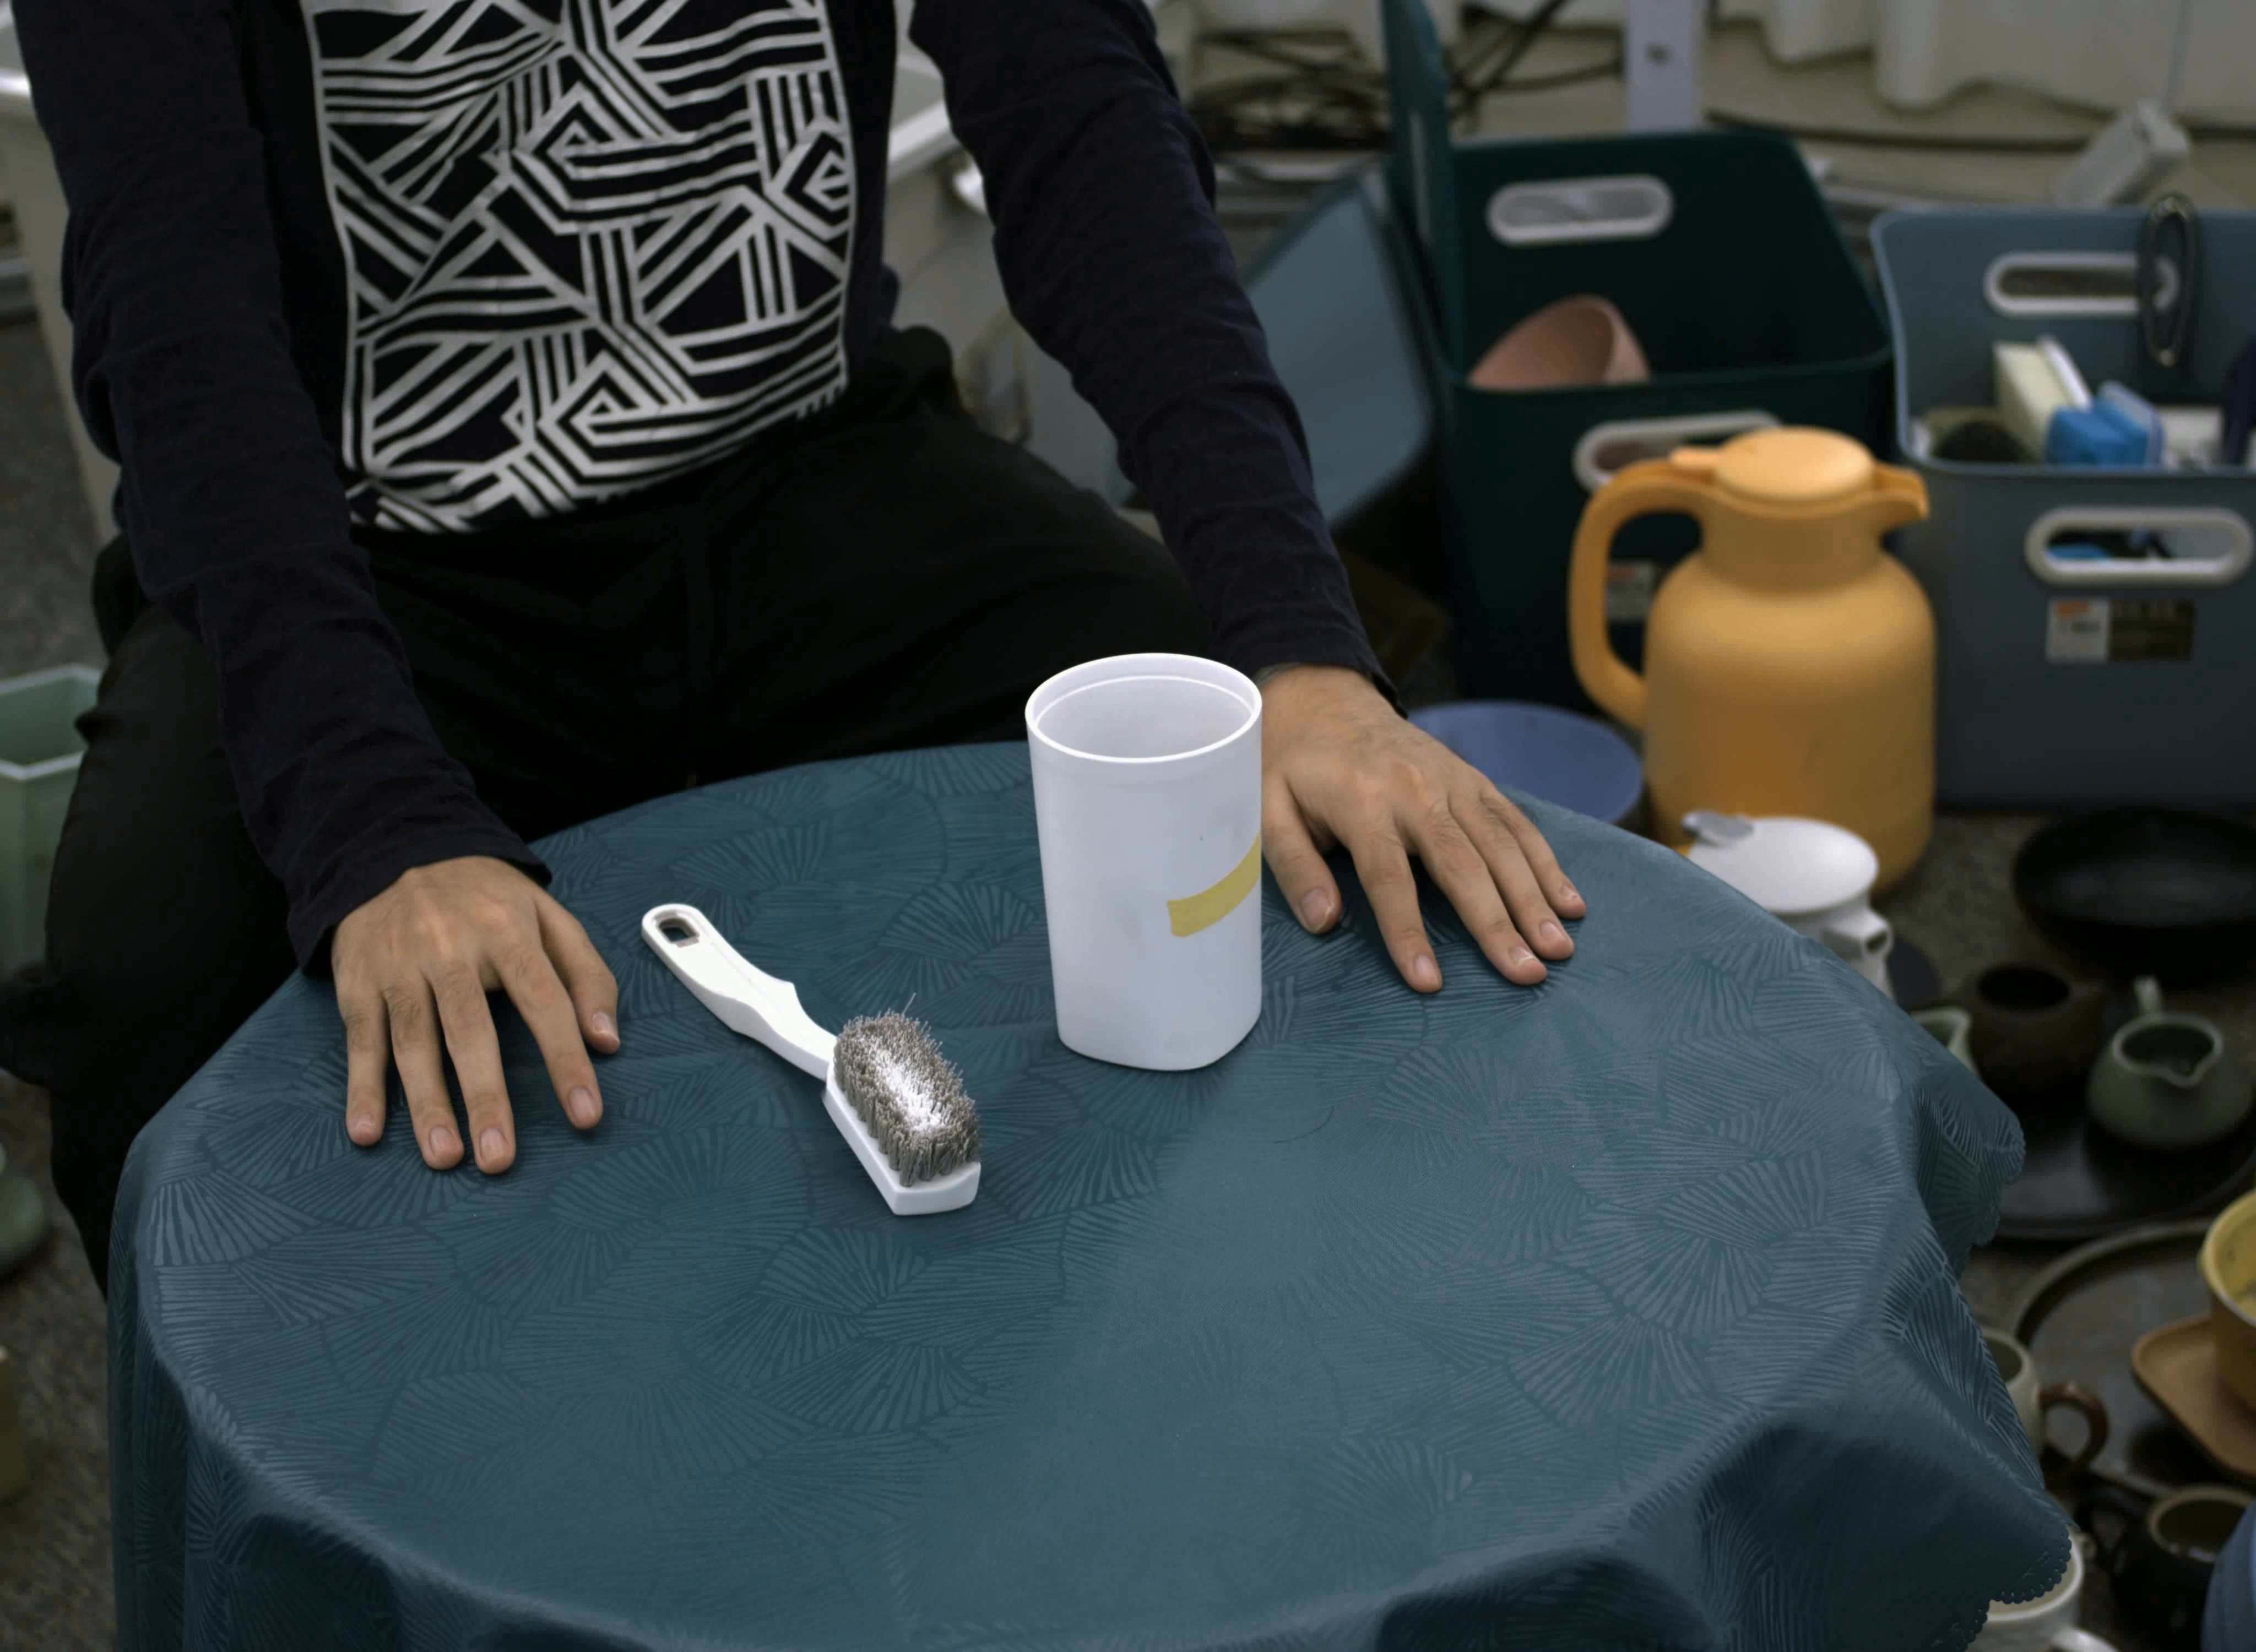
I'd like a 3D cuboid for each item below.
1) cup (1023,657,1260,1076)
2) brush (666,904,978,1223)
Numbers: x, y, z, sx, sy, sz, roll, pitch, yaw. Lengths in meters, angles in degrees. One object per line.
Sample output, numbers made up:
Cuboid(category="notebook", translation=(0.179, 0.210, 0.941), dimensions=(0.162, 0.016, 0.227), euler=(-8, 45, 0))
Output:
Cuboid(category="cup", translation=(0.008, 0.015, 1.933), dimensions=(0.081, 0.124, 0.083), euler=(-2, 25, 2))
Cuboid(category="brush", translation=(-0.111, 0.064, 1.932), dimensions=(0.034, 0.049, 0.245), euler=(-18, 30, -19))
